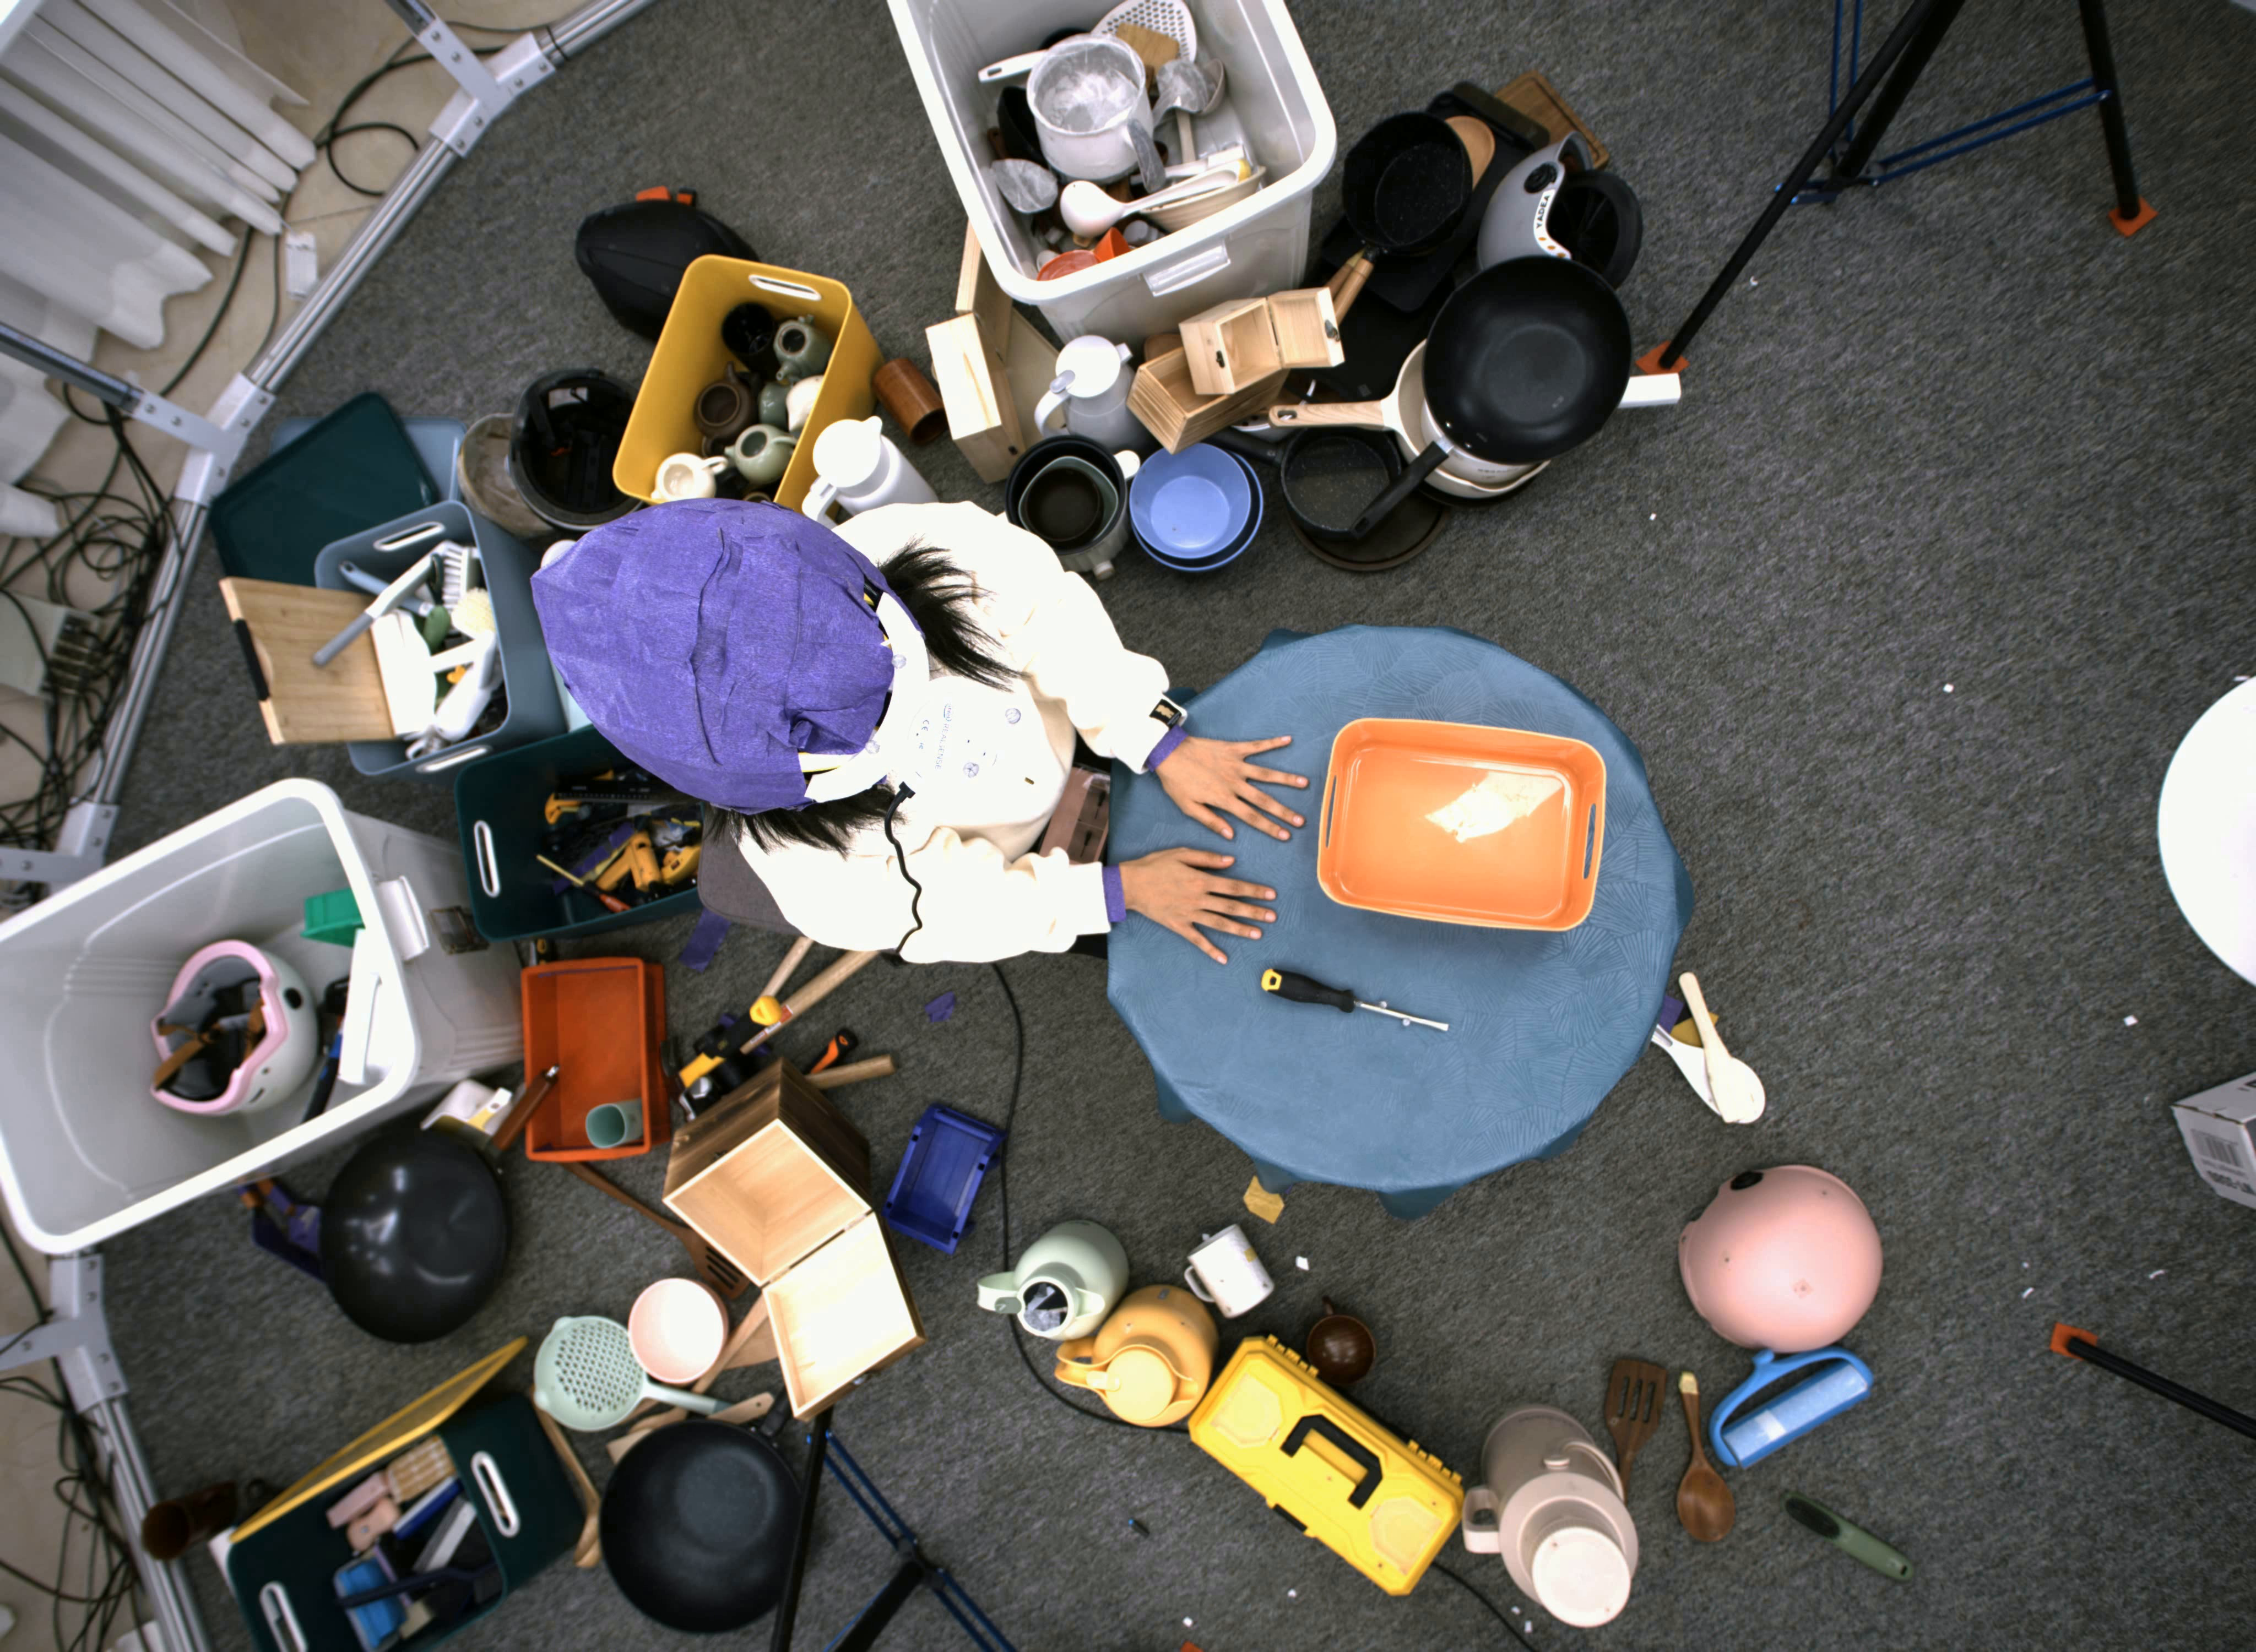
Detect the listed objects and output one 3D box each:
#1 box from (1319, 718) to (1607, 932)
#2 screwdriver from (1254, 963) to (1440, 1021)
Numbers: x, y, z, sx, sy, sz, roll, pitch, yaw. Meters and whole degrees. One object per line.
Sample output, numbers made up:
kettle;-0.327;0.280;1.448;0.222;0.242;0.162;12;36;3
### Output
box;0.336;-0.001;1.399;0.274;0.102;0.199;6;88;11
screwdriver;0.228;0.172;1.439;0.198;0.031;0.031;11;87;2
